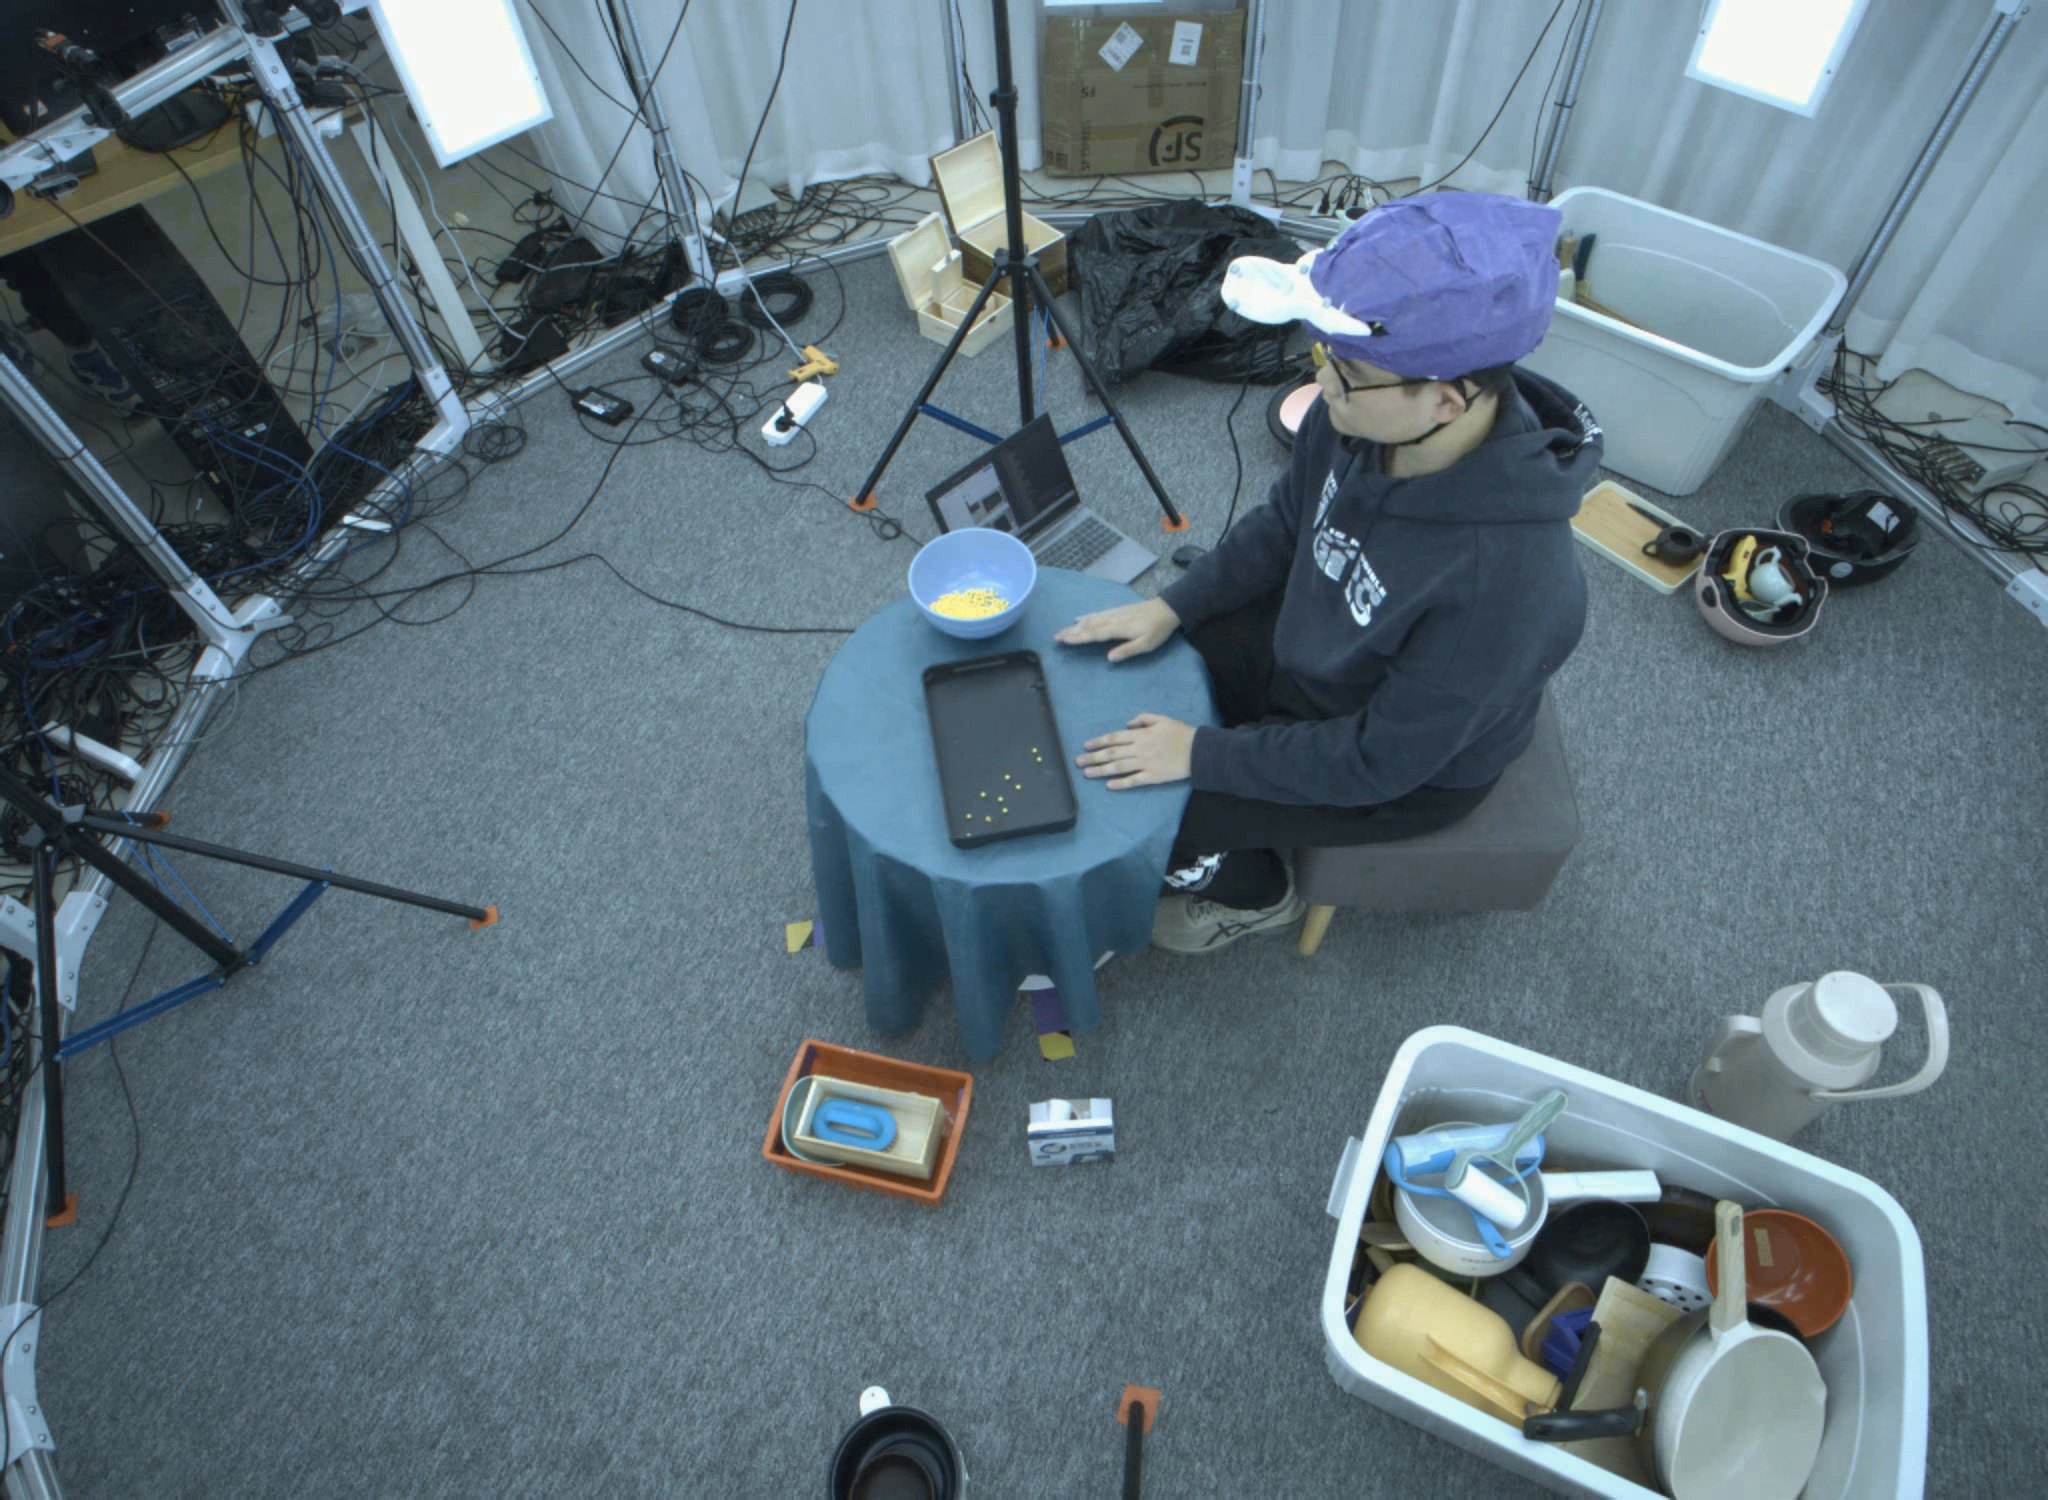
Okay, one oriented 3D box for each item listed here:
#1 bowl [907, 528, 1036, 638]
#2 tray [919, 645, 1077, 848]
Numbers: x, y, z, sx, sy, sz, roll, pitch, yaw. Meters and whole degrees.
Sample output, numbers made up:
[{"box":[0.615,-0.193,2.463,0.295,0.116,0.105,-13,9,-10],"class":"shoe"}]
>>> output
[{"box":[-0.079,-0.244,1.904,0.196,0.096,0.194,0,54,2],"class":"bowl"},{"box":[-0.041,-0.011,1.773,0.185,0.037,0.313,-9,55,-5],"class":"tray"}]
